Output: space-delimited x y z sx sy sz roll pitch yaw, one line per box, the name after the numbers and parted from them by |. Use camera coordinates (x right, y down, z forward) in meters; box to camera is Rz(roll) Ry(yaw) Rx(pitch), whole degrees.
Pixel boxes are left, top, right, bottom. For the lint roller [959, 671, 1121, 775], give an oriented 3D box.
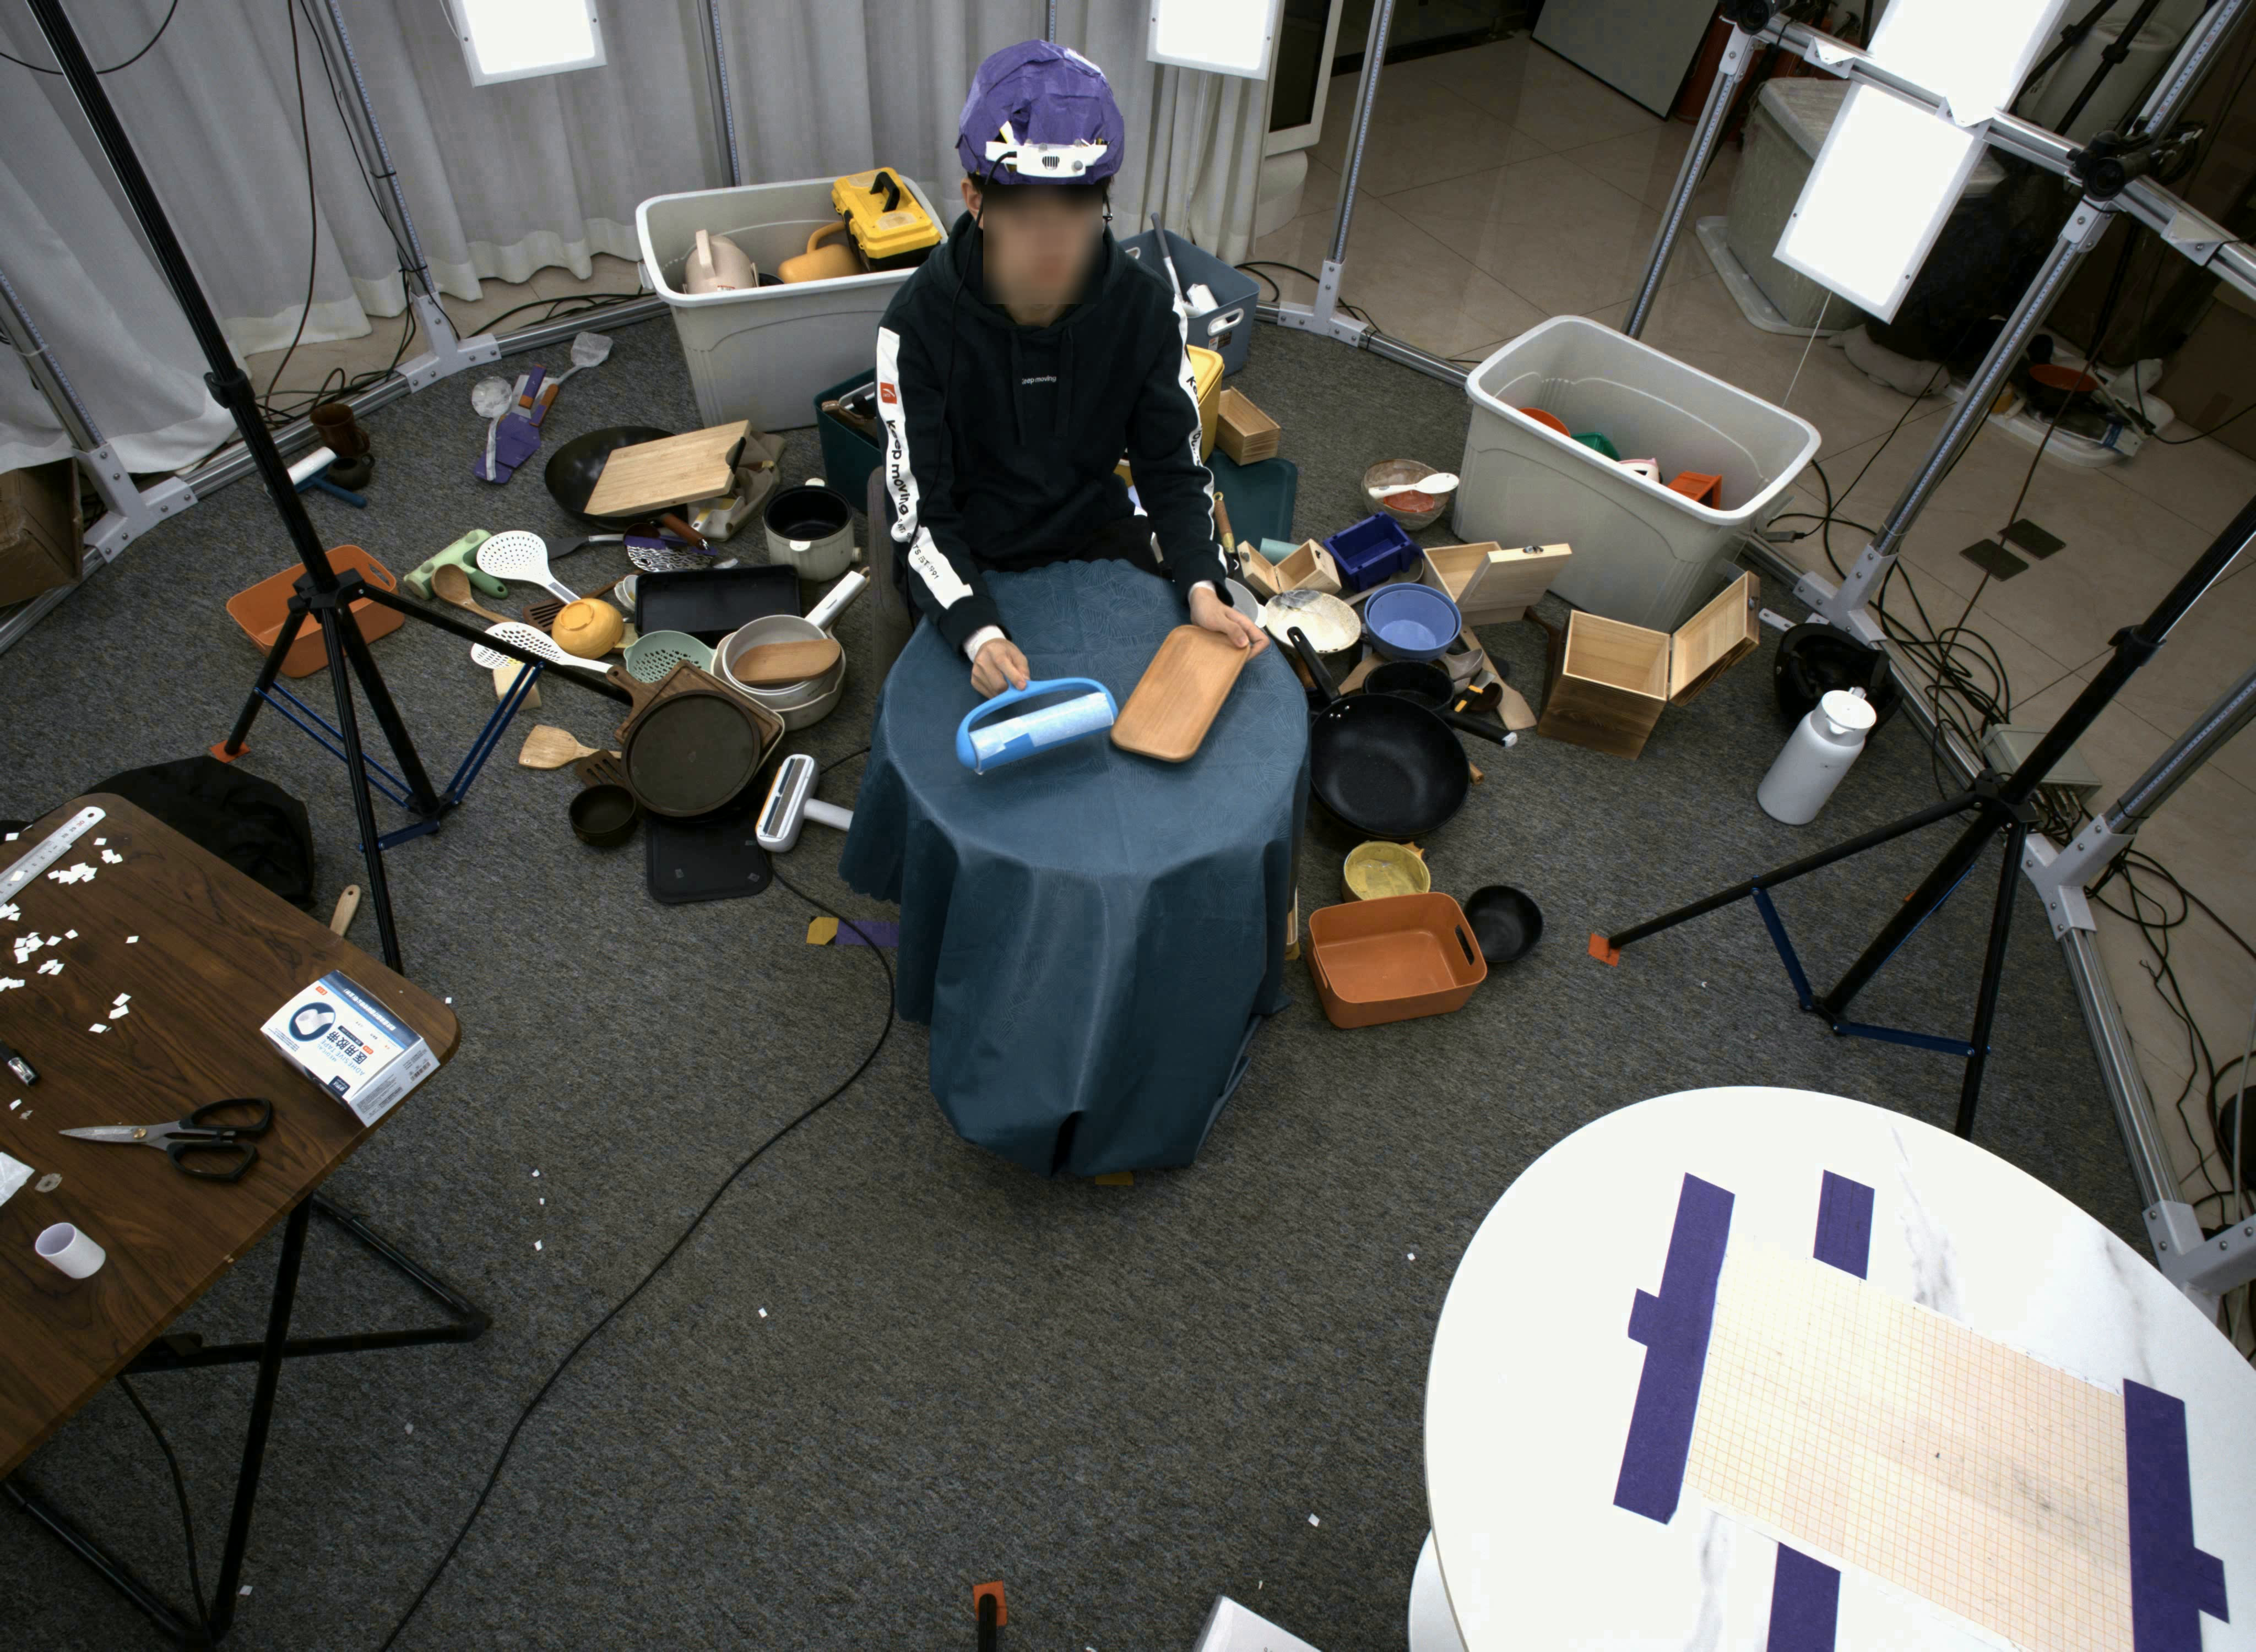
-0.144 -0.165 1.726 0.229 0.066 0.184 -23 53 -20 | lint roller

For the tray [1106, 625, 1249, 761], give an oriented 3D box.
0.073 -0.190 1.803 0.131 0.022 0.255 14 54 25 | tray
